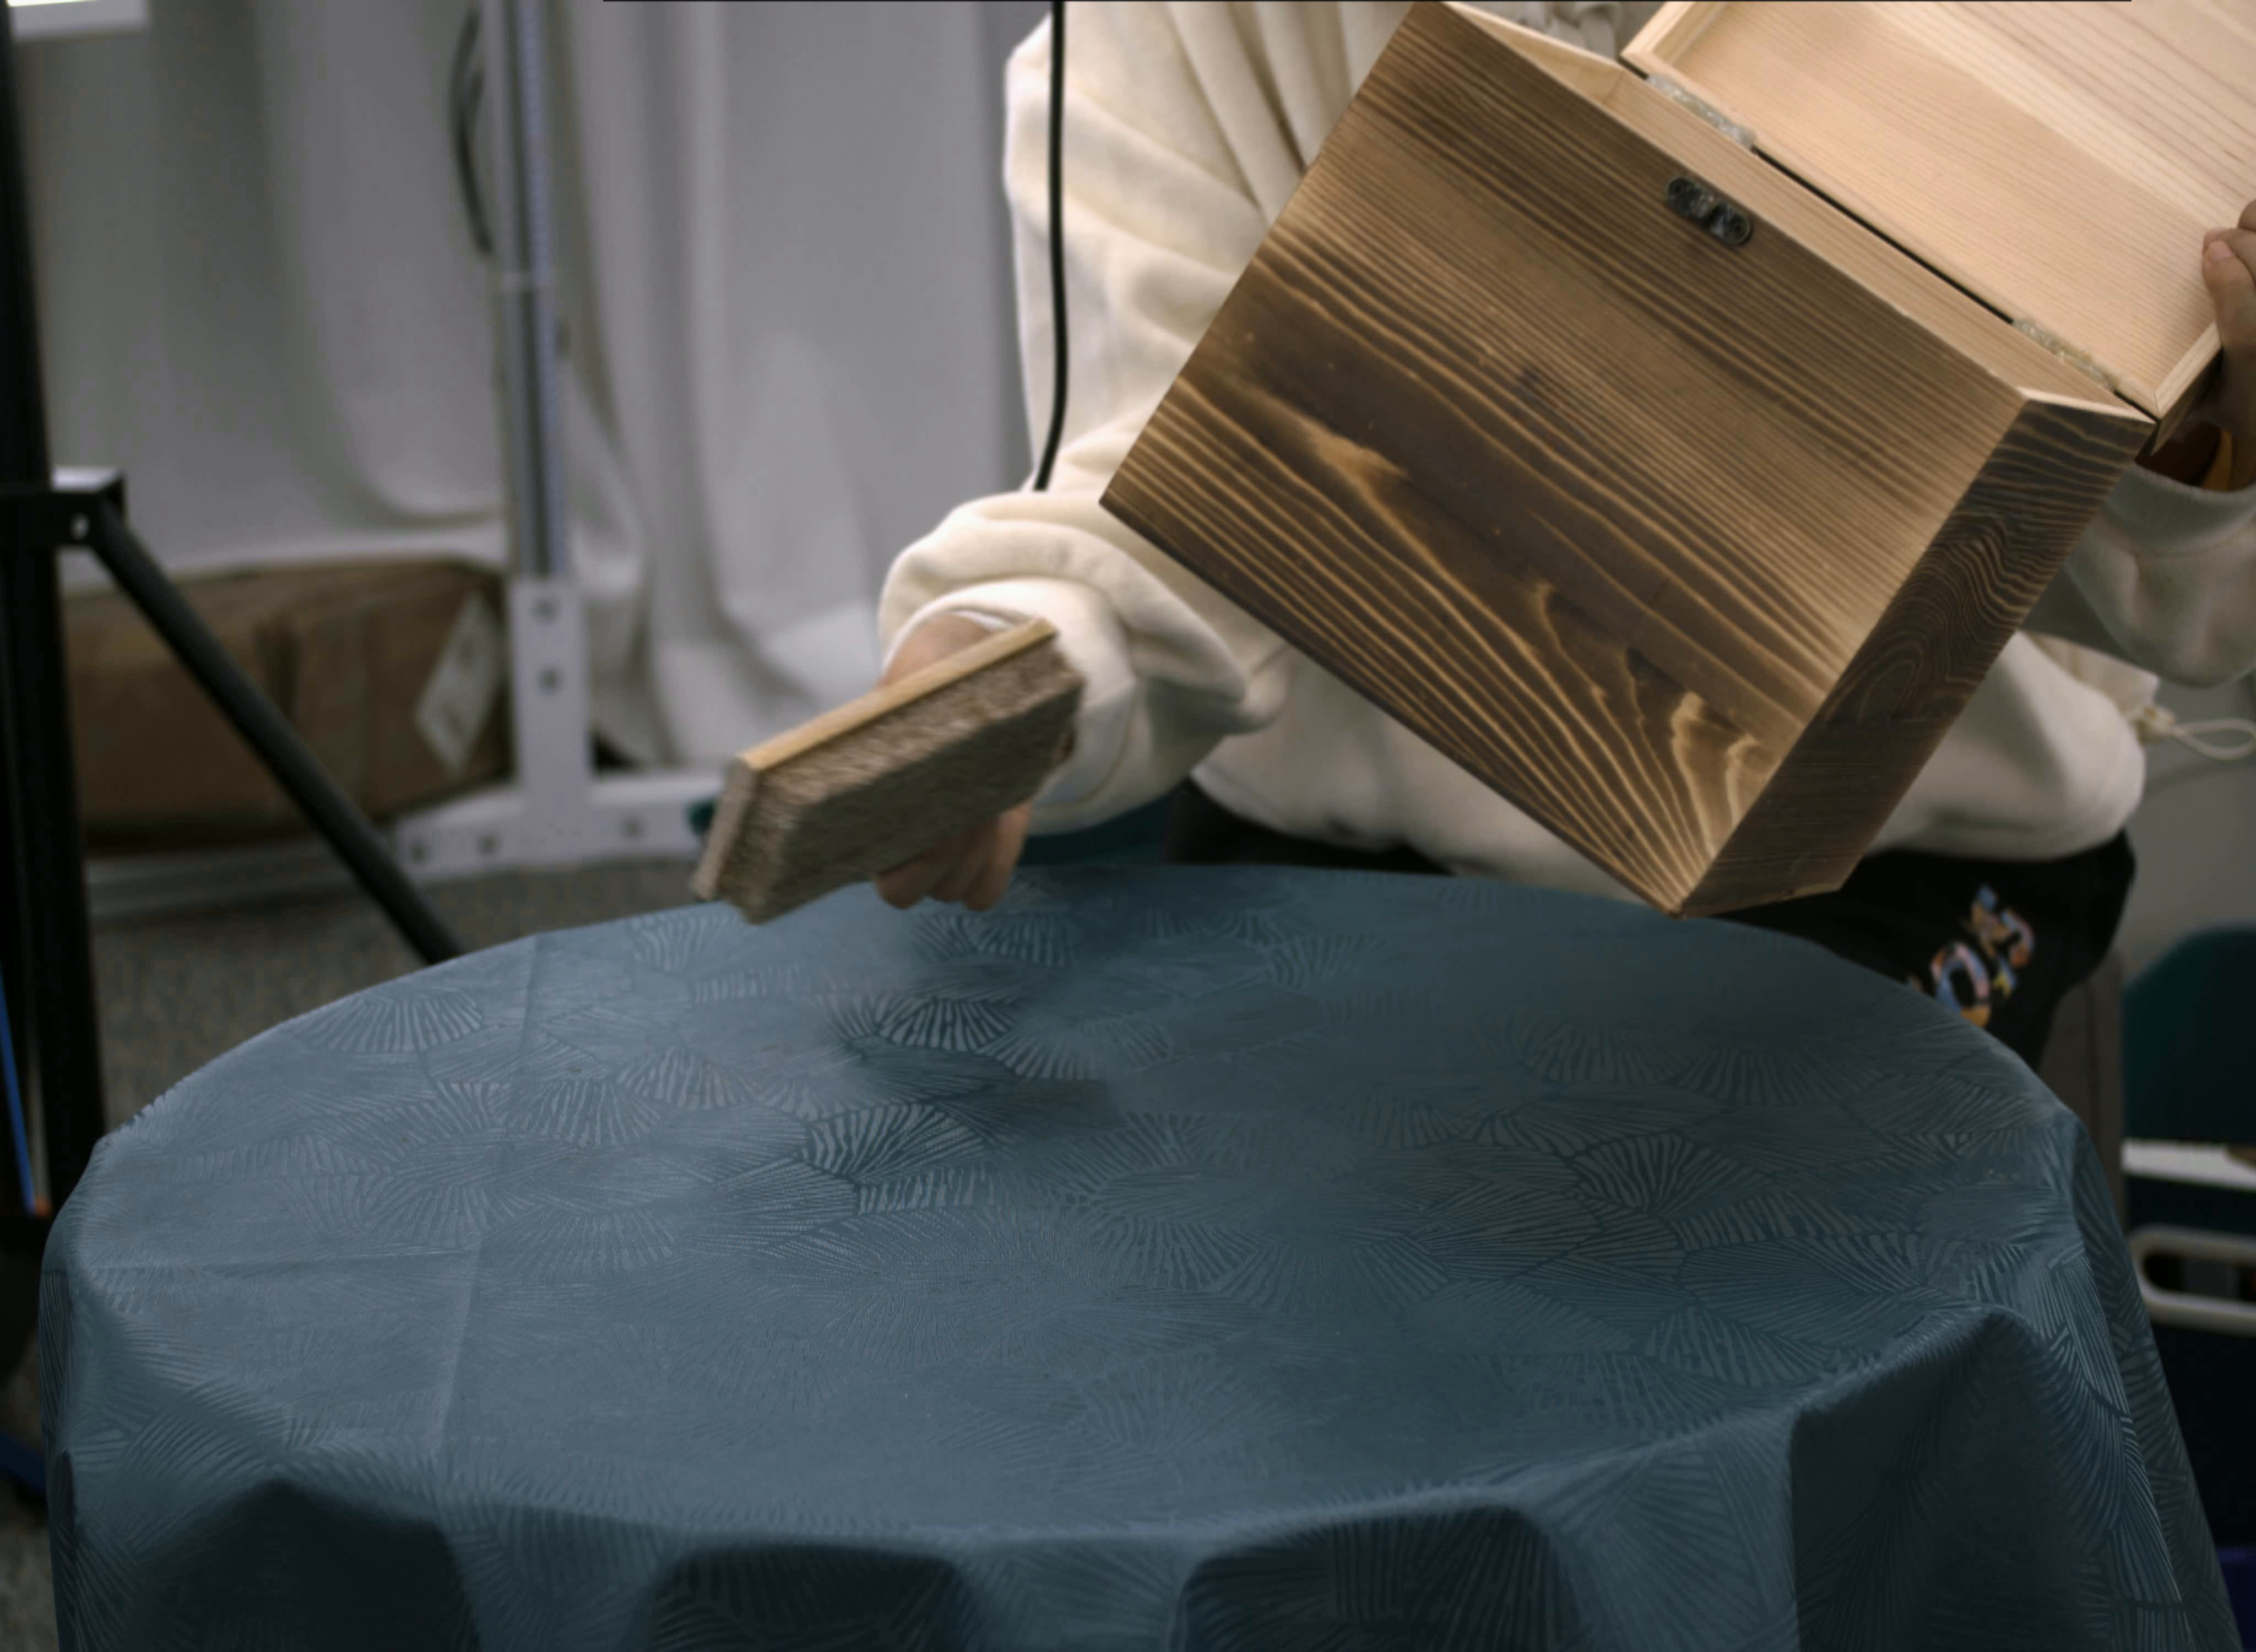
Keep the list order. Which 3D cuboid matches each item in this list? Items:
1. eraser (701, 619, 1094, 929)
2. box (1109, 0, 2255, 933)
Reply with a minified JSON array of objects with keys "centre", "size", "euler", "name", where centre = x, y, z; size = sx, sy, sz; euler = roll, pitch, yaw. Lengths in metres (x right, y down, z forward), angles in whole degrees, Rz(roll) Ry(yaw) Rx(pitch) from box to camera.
[{"centre":[-0.068,-0.015,1.645],"size":[0.029,0.057,0.136],"euler":[42,44,22],"name":"eraser"},{"centre":[0.214,-0.187,1.533],"size":[0.211,0.377,0.317],"euler":[35,14,16],"name":"box"}]
